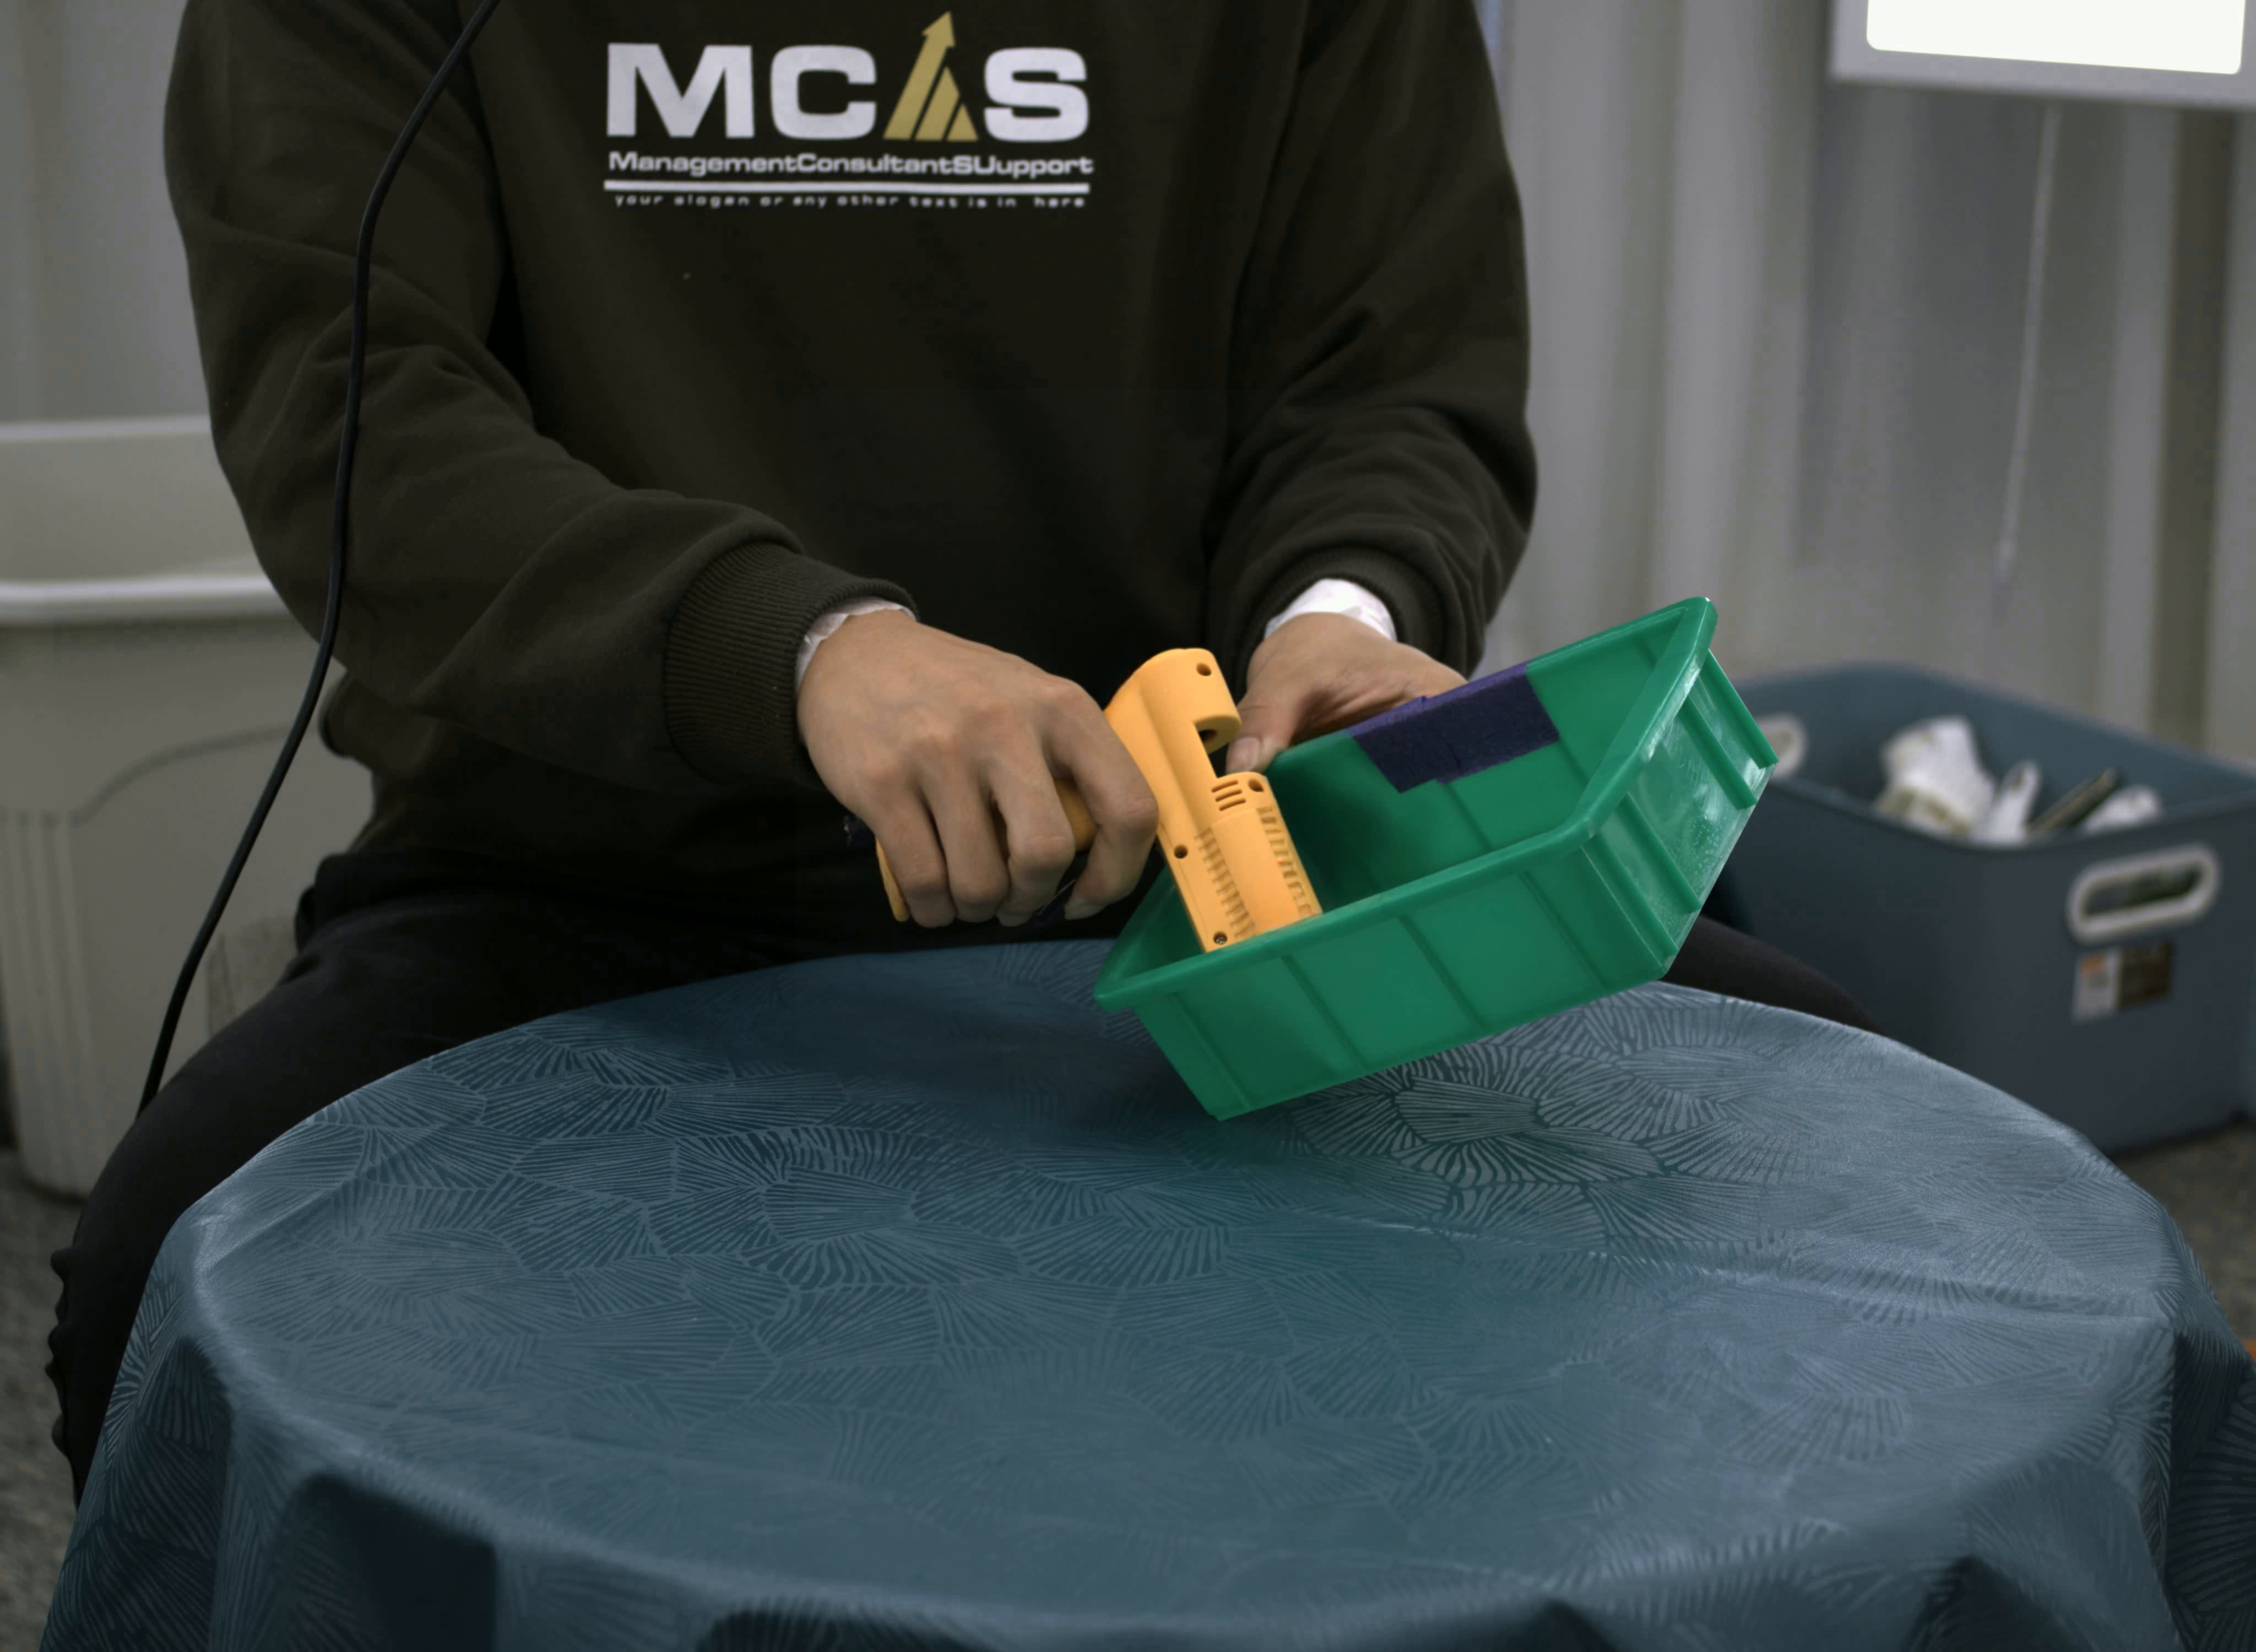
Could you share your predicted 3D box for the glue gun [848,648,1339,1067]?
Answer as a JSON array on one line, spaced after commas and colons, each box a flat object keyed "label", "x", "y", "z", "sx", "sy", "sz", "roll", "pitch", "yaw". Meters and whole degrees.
[{"label": "glue gun", "x": -0.001, "y": 0.030, "z": 1.685, "sx": 0.133, "sy": 0.150, "sz": 0.031, "roll": -25, "pitch": -21, "yaw": -6}]

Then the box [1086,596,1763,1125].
[{"label": "box", "x": 0.099, "y": 0.016, "z": 1.676, "sx": 0.209, "sy": 0.066, "sz": 0.138, "roll": -23, "pitch": 20, "yaw": 36}]
